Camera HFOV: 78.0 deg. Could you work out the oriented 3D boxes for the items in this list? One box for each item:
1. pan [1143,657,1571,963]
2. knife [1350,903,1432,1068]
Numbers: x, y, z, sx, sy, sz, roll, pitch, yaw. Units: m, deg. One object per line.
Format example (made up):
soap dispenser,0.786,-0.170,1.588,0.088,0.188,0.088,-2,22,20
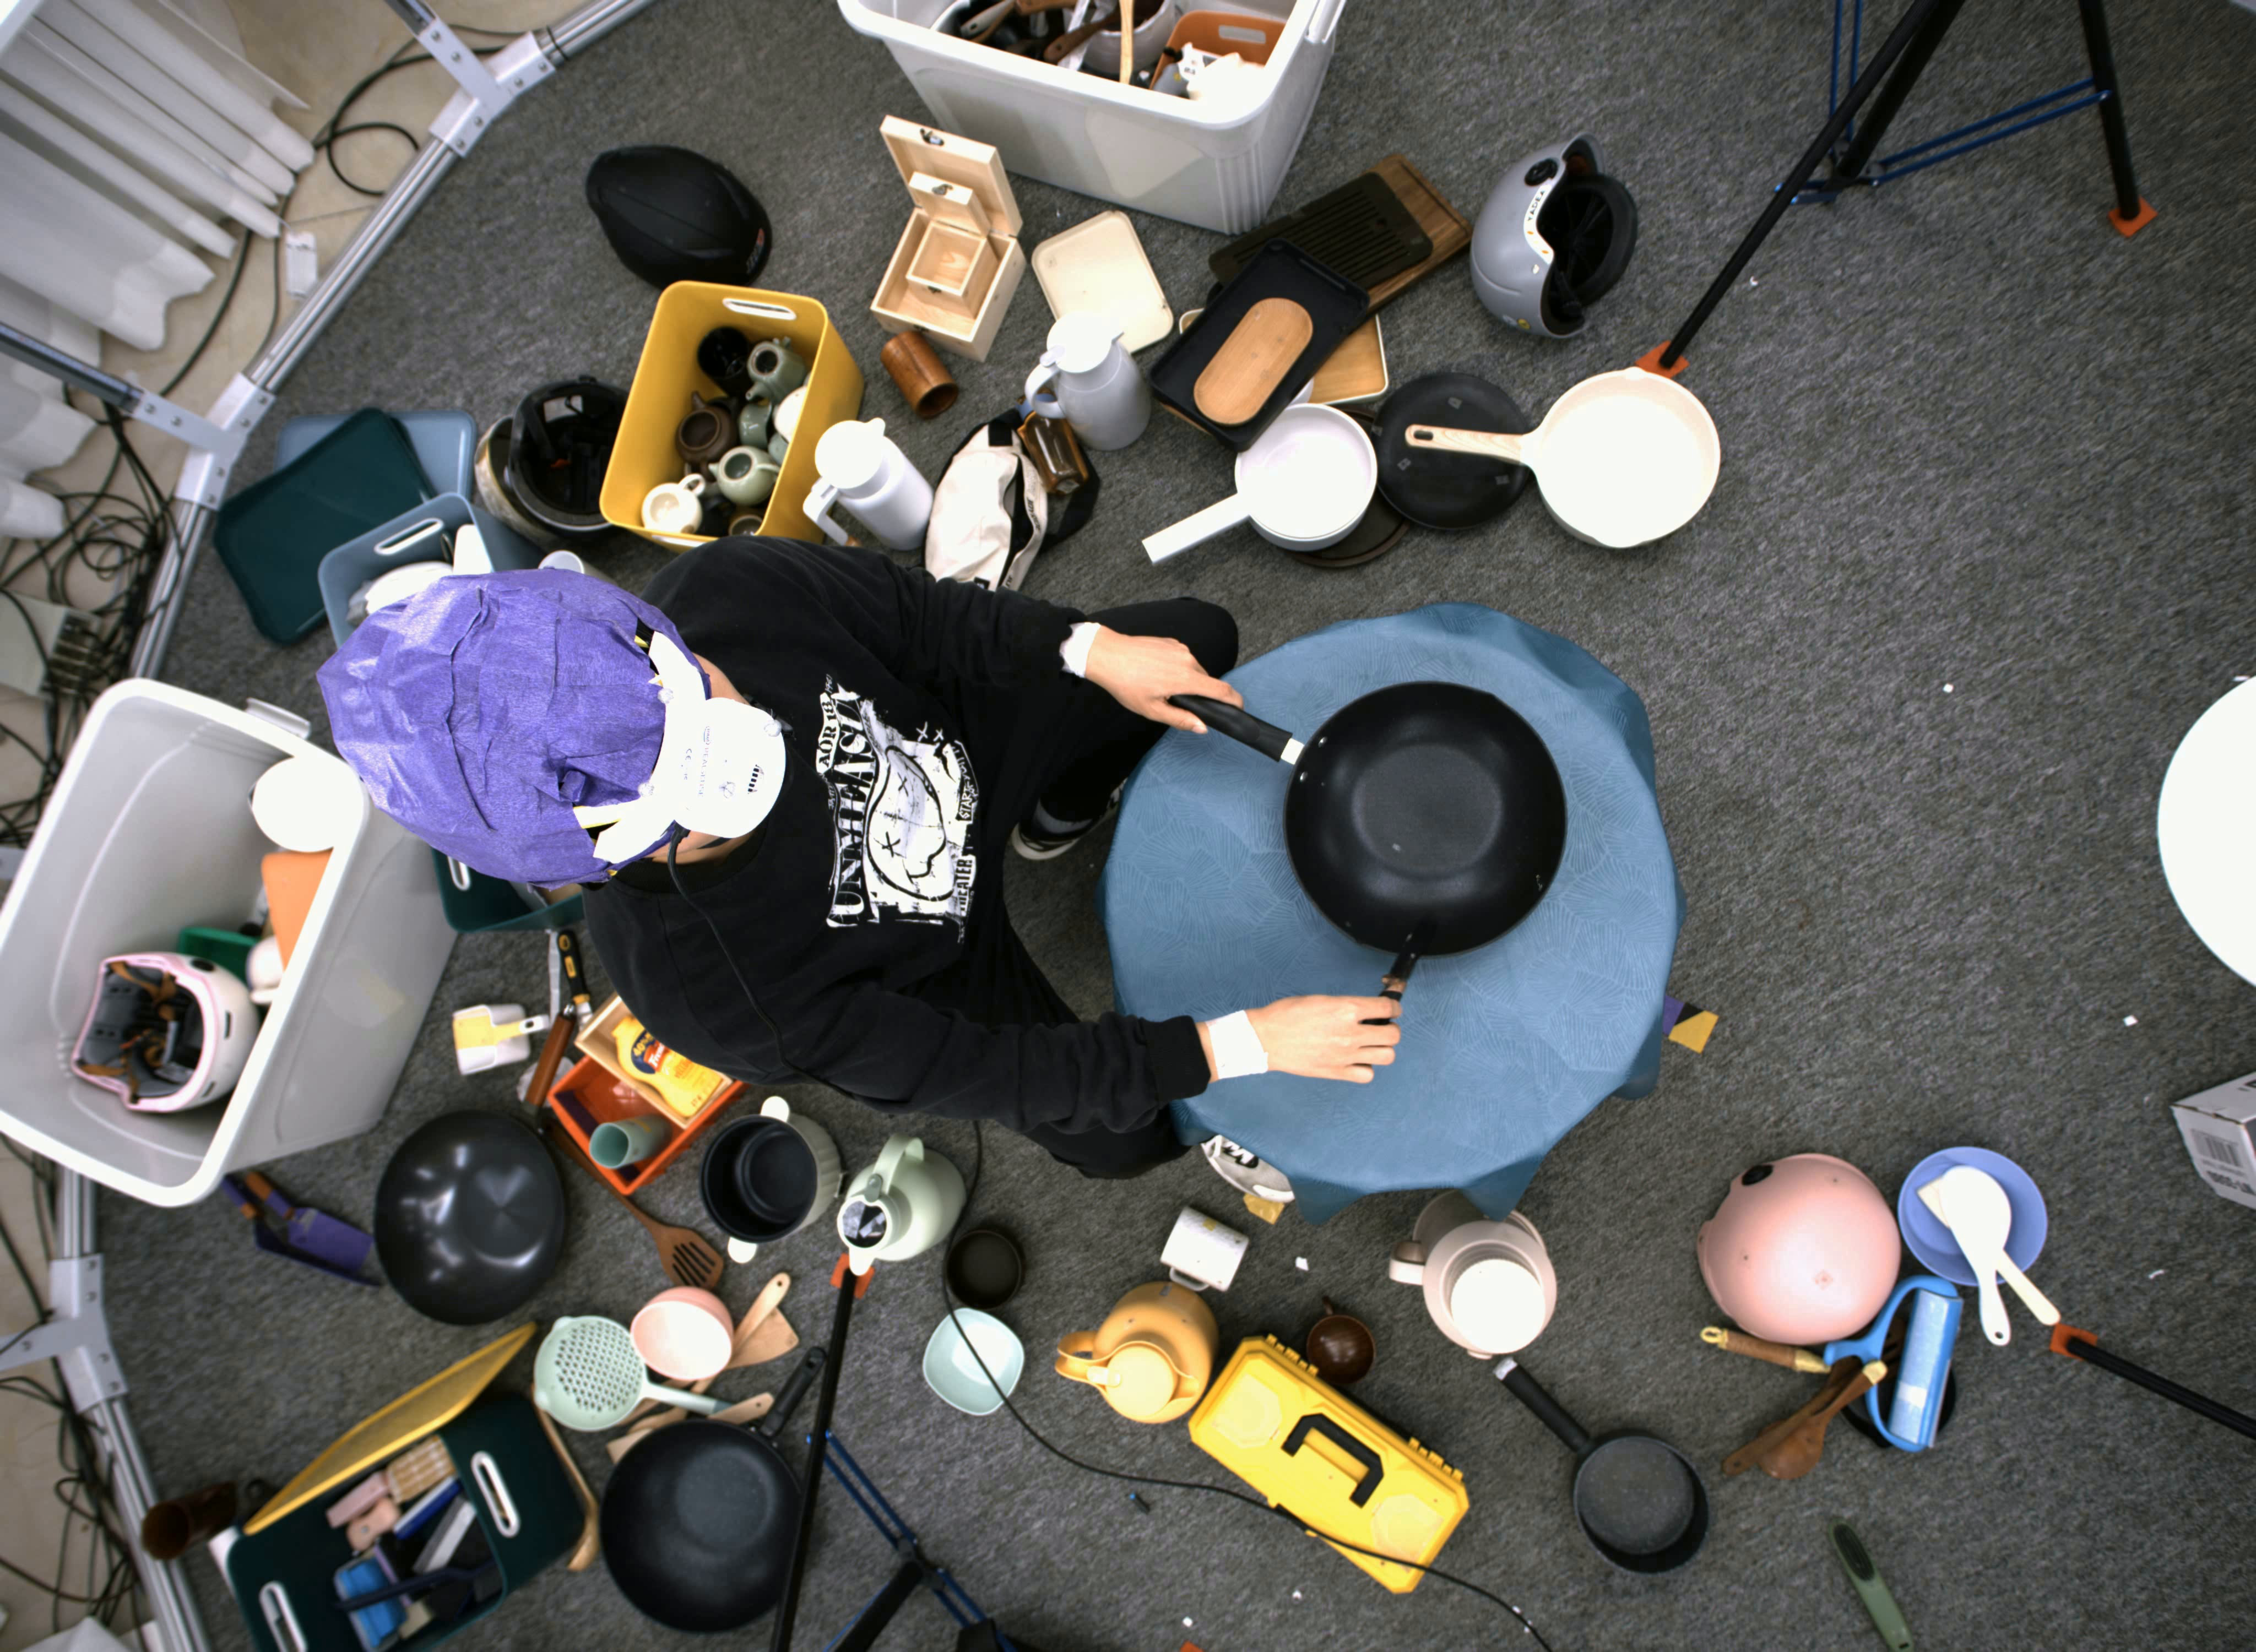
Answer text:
pan,0.225,-0.052,1.410,0.463,0.085,0.293,29,111,9
knife,0.269,0.153,1.380,0.026,0.017,0.220,5,45,36
